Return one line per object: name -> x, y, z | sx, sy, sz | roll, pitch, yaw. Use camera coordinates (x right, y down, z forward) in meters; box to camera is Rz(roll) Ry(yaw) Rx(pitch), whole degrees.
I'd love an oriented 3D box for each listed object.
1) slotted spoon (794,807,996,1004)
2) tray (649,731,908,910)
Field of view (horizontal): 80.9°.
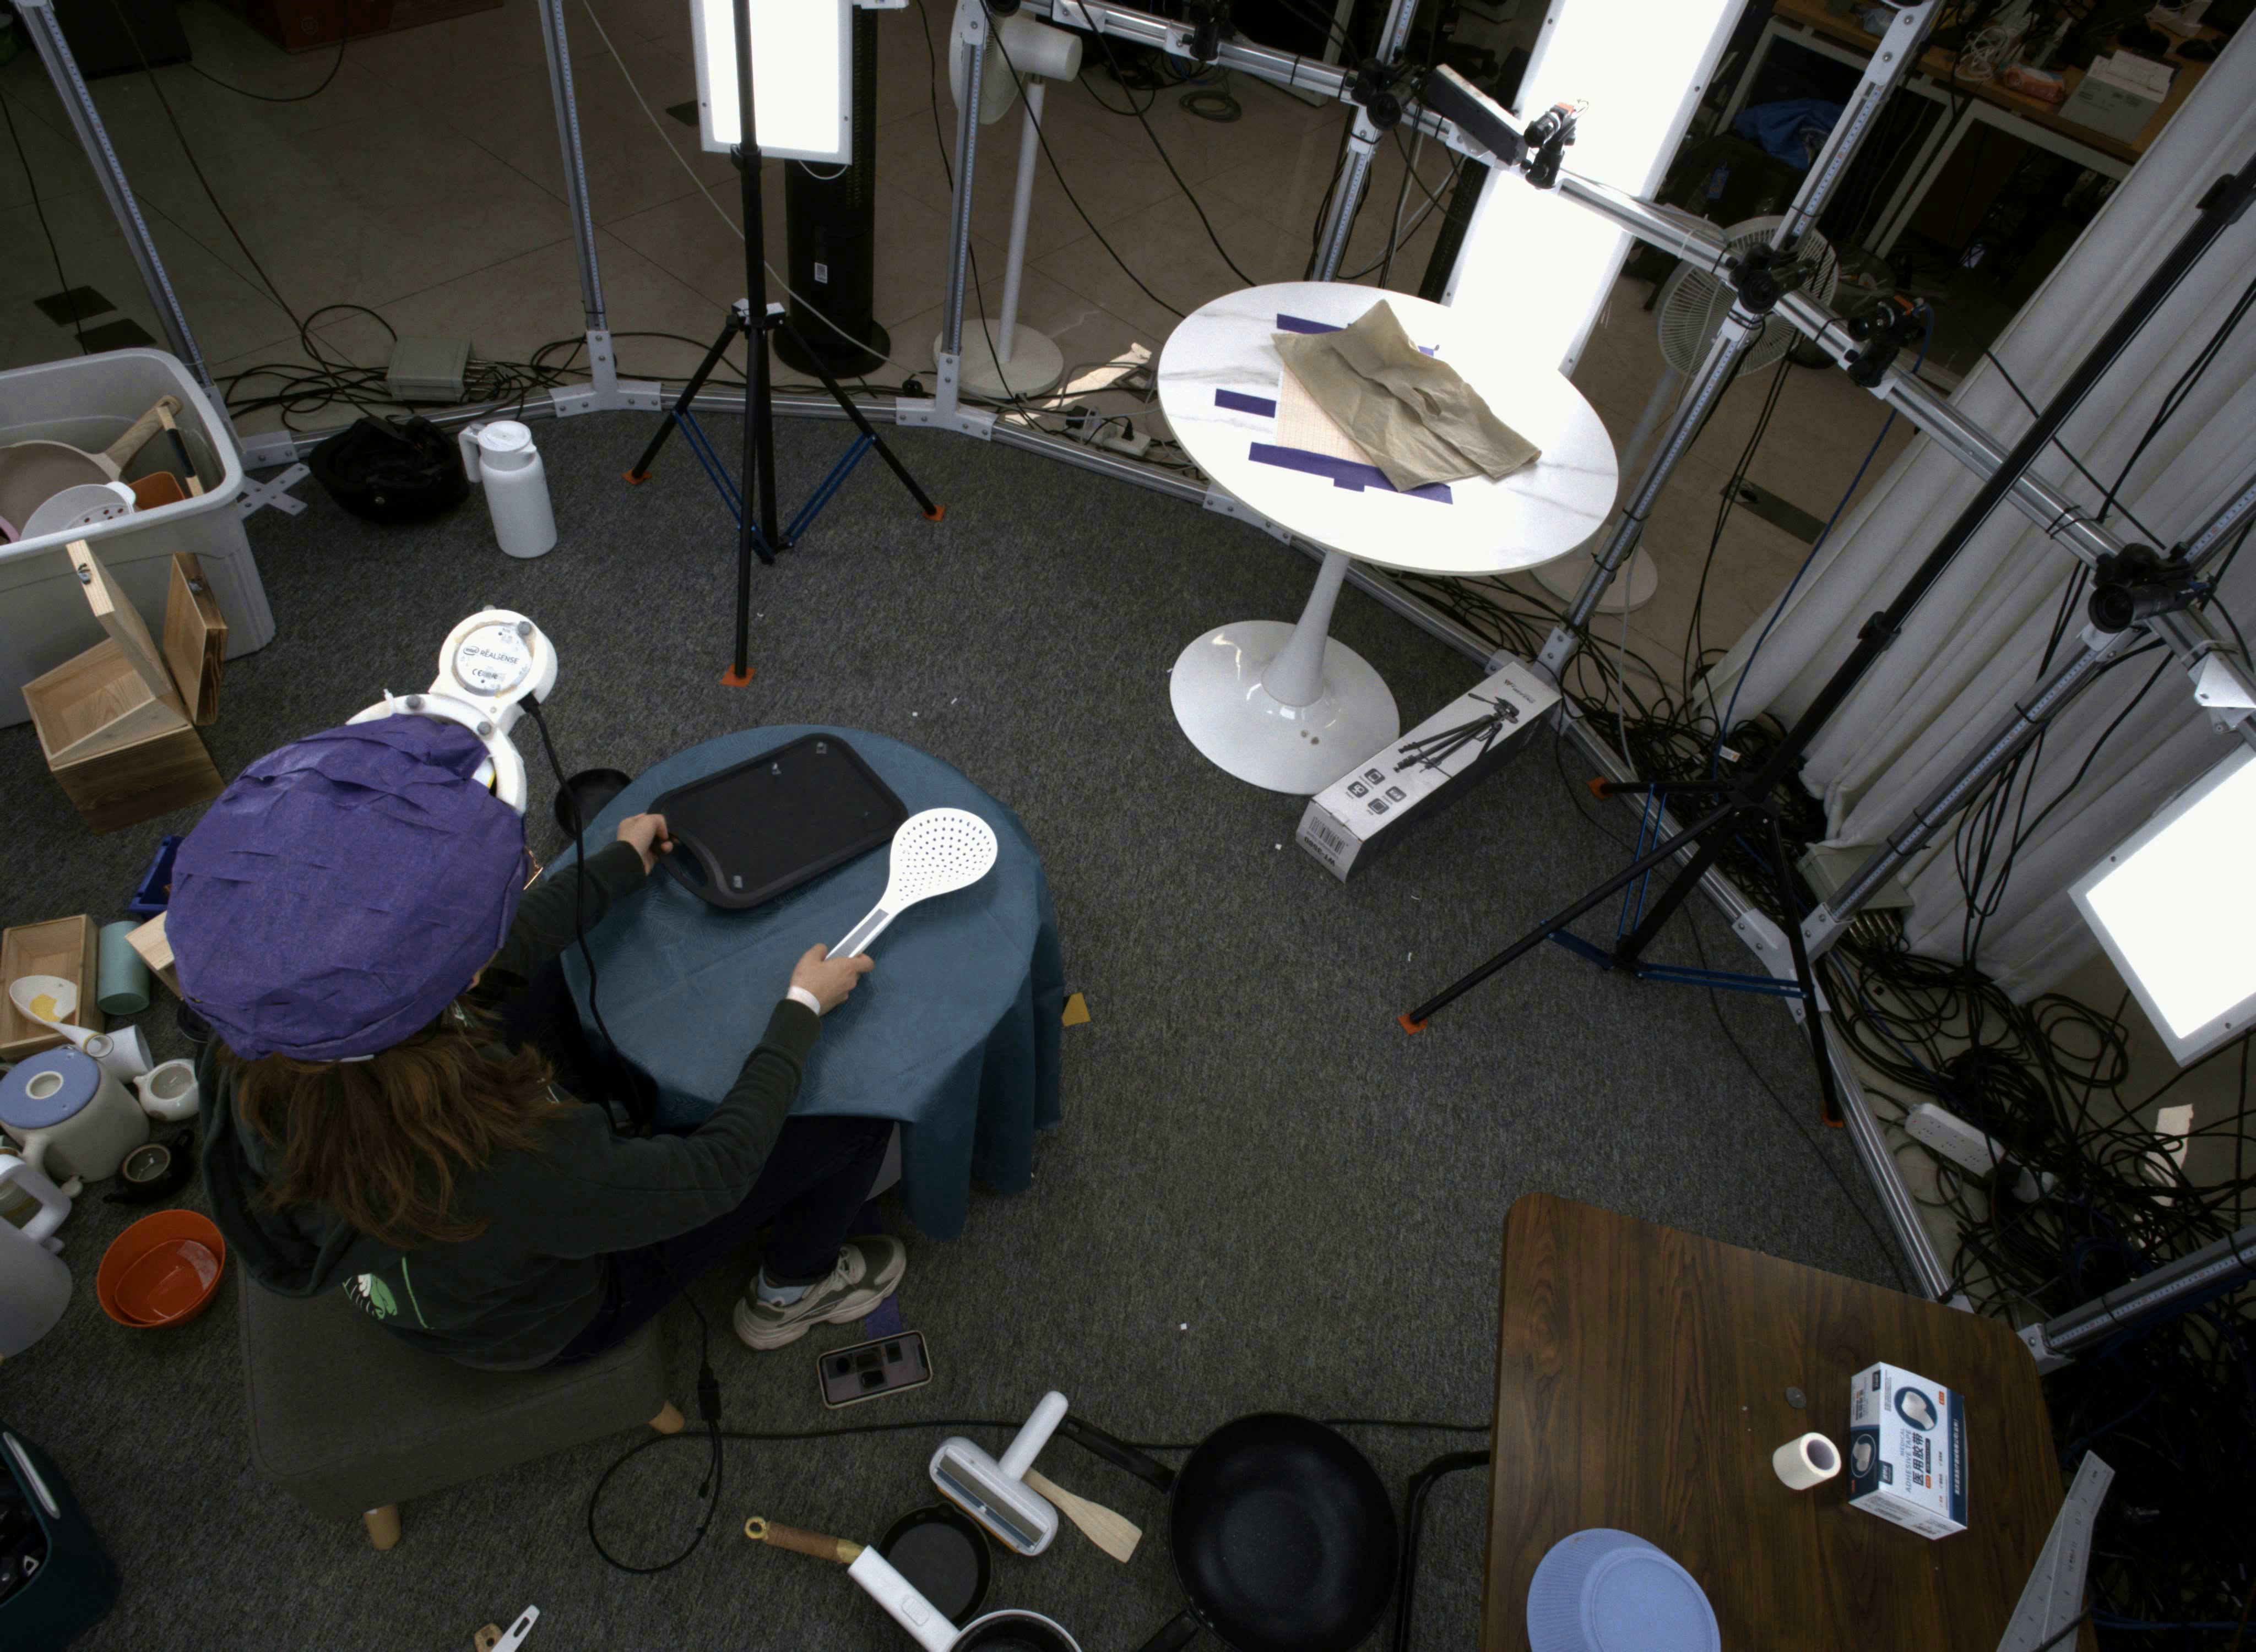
slotted spoon -> -0.297, 0.096, 1.648 | 0.133, 0.047, 0.349 | 29, 48, 16
tray -> -0.461, -0.013, 1.701 | 0.327, 0.010, 0.207 | -30, 68, -37
